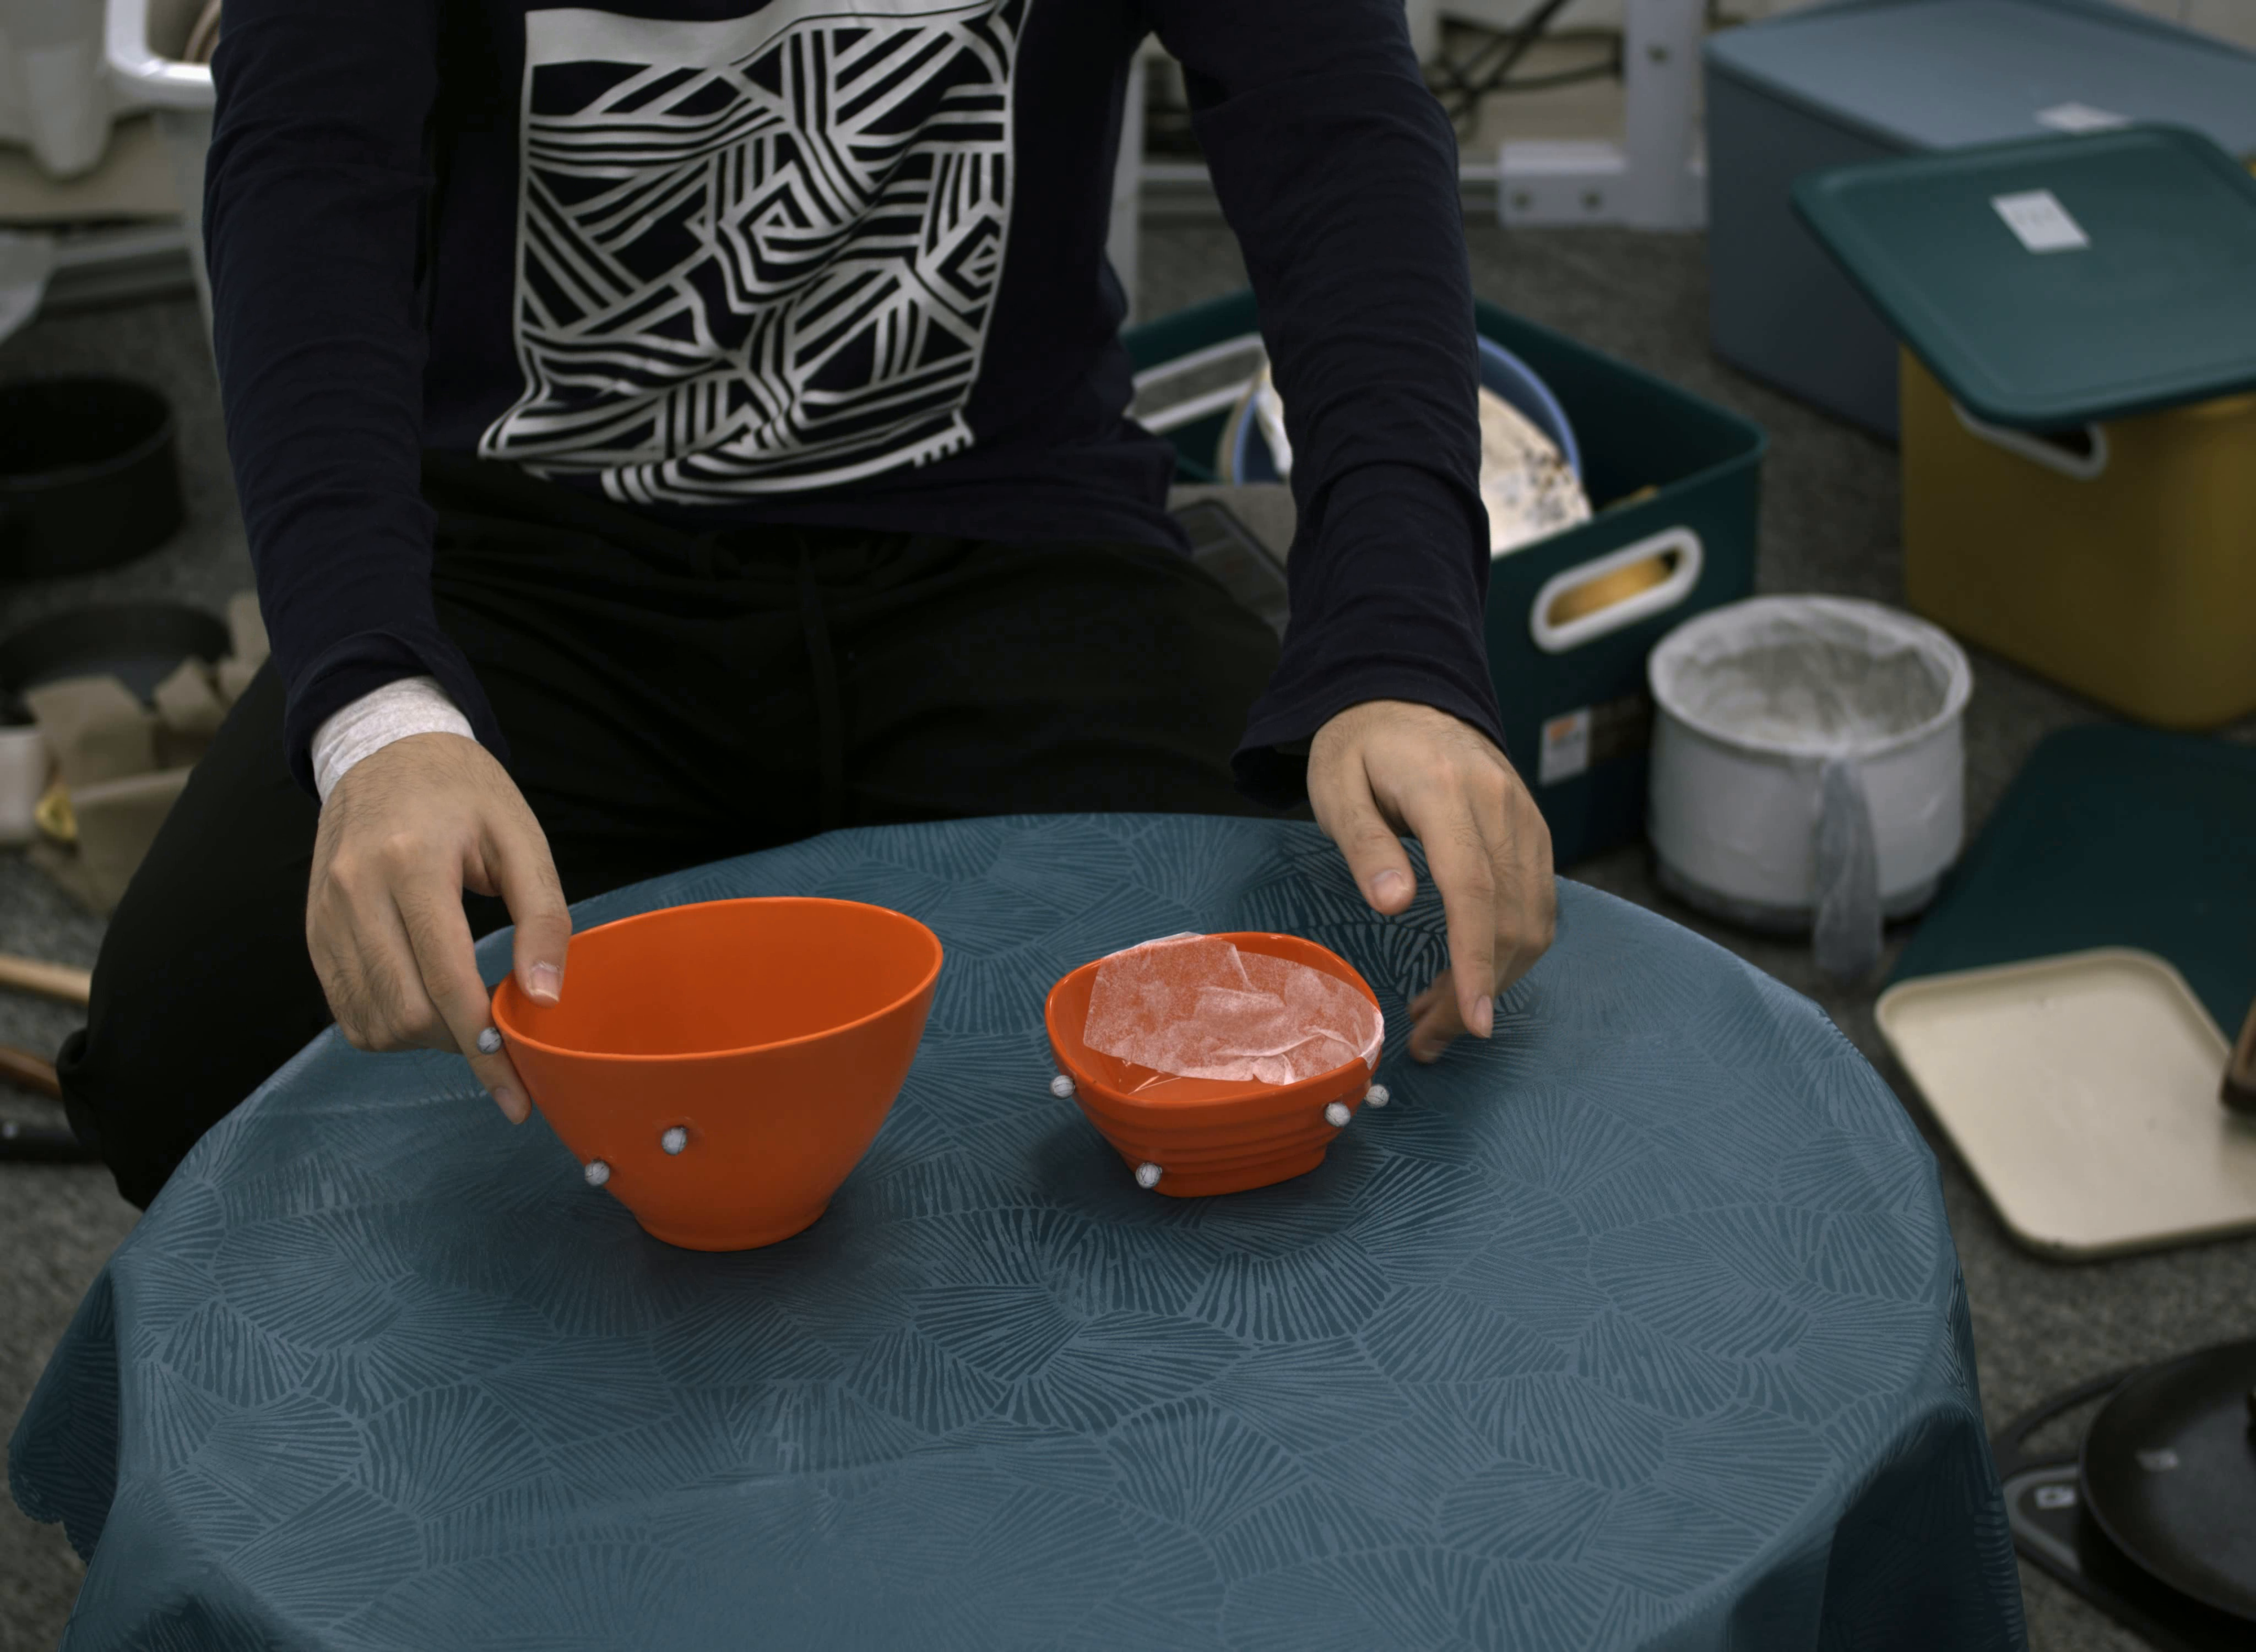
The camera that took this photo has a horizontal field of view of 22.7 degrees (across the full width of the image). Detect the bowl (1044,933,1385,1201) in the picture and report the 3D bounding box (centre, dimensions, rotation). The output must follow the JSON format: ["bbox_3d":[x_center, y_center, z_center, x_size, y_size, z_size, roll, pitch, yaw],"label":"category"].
[{"bbox_3d":[0.030,0.085,1.878,0.118,0.051,0.120,-4,26,2],"label":"bowl"}]

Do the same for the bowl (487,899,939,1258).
[{"bbox_3d":[-0.132,0.086,1.836,0.147,0.103,0.150,-2,26,2],"label":"bowl"}]
